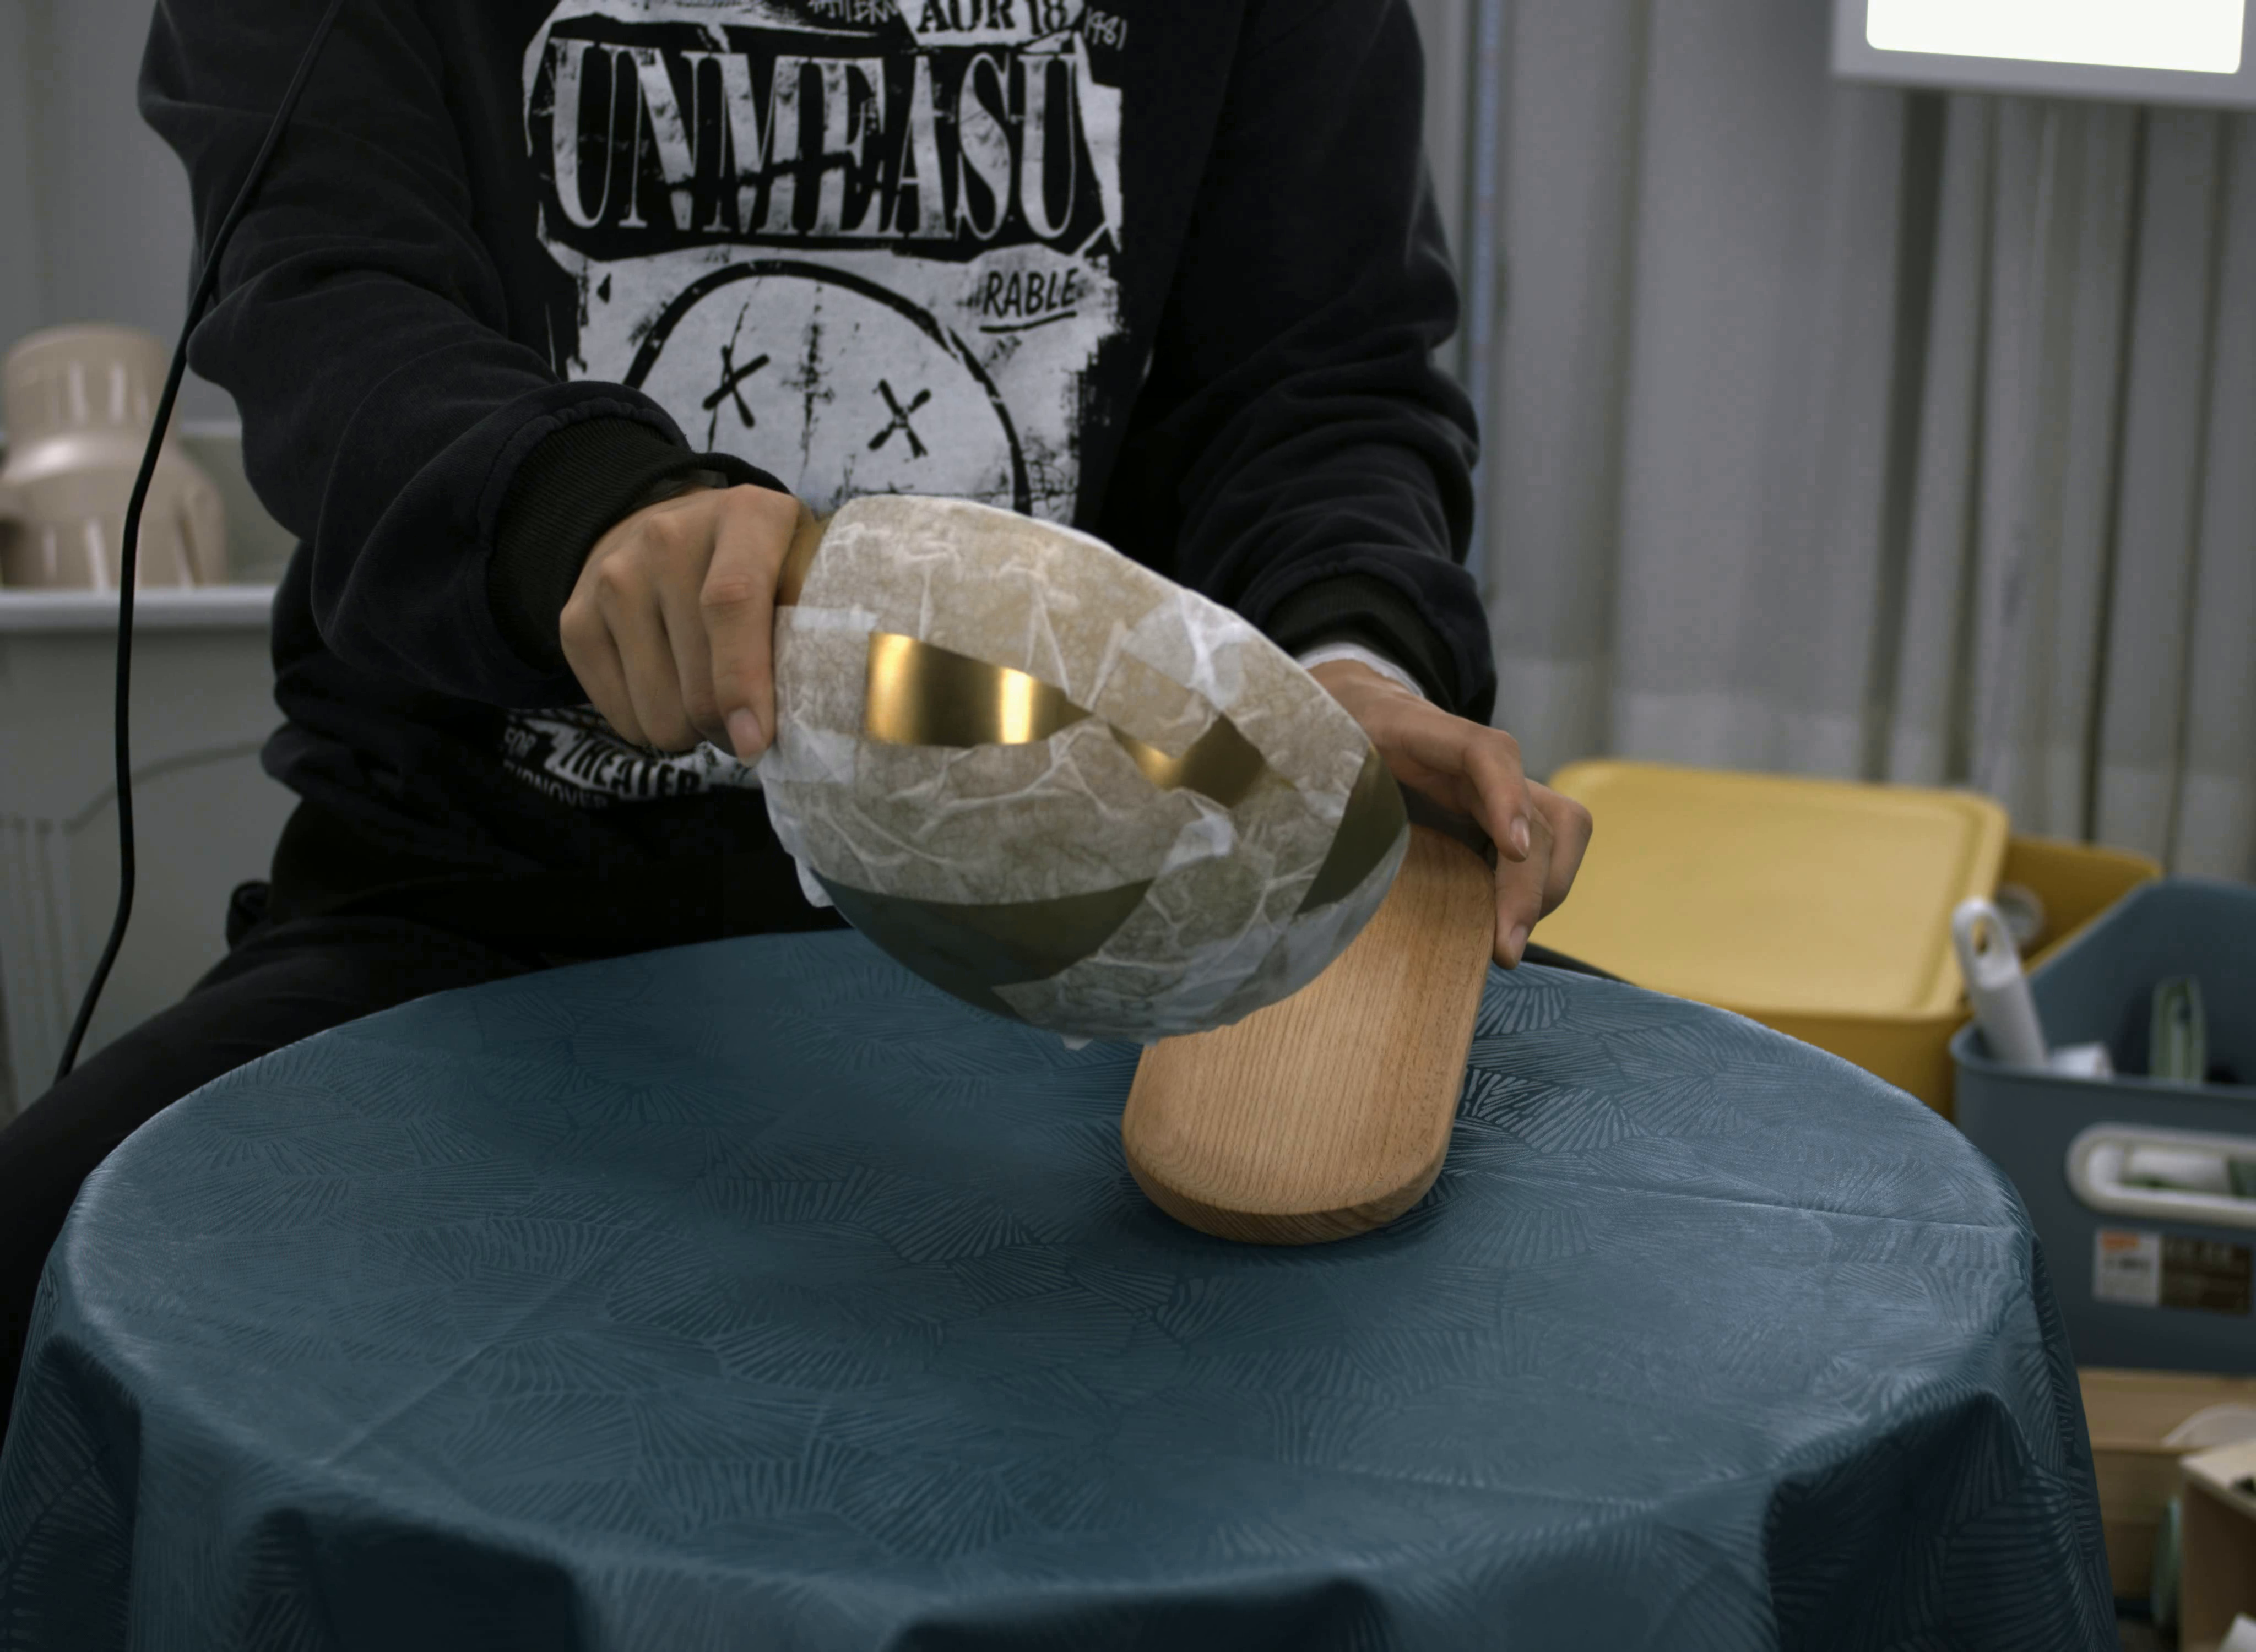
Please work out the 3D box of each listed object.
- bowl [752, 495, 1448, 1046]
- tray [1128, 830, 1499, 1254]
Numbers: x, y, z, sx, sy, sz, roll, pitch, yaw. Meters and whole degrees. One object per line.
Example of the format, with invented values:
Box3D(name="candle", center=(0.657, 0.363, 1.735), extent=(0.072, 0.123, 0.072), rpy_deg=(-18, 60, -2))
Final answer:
Box3D(name="bowl", center=(-0.025, 0.003, 1.507), extent=(0.212, 0.218, 0.094), rpy_deg=(12, 64, 33))
Box3D(name="tray", center=(0.061, 0.064, 1.667), extent=(0.101, 0.020, 0.230), rpy_deg=(3, 33, 9))
